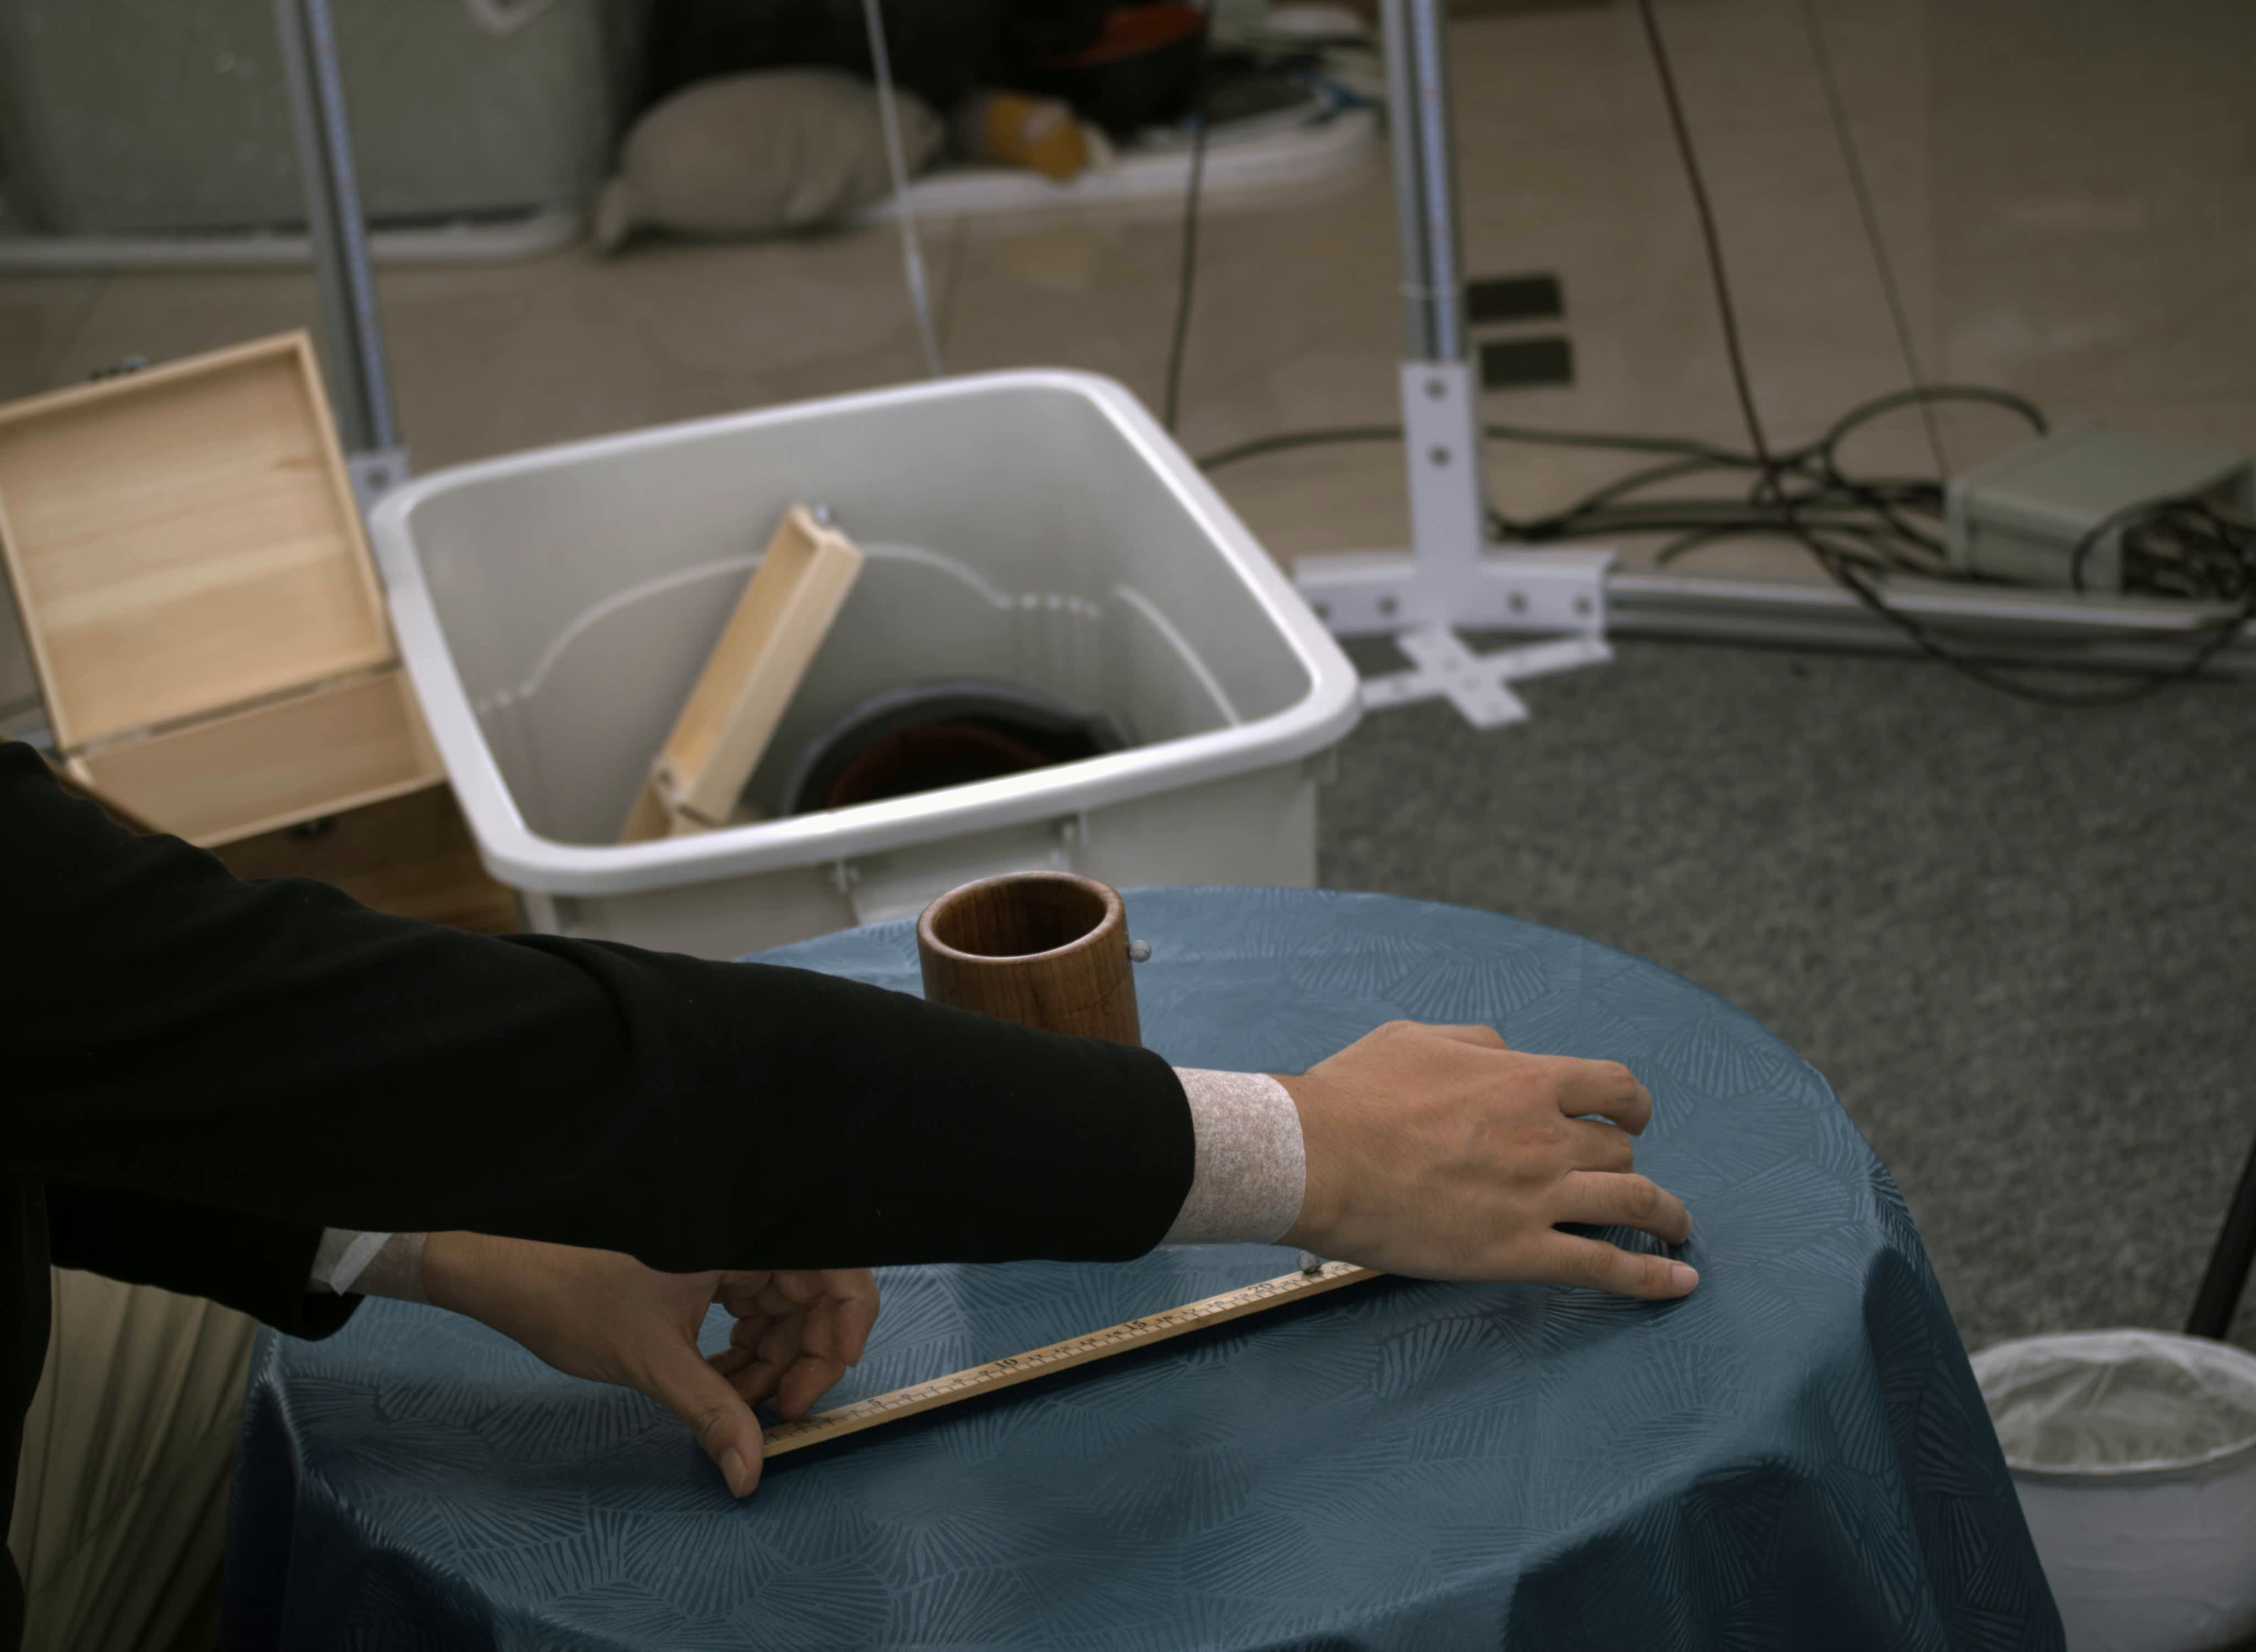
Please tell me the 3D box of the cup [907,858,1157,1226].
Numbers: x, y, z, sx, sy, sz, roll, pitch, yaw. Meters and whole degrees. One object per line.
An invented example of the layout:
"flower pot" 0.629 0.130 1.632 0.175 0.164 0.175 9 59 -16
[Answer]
"cup" -0.033 0.081 2.140 0.087 0.120 0.086 -6 25 3

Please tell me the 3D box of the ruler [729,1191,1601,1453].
"ruler" 0.015 0.176 2.046 0.331 0.022 0.027 -14 3 -16
